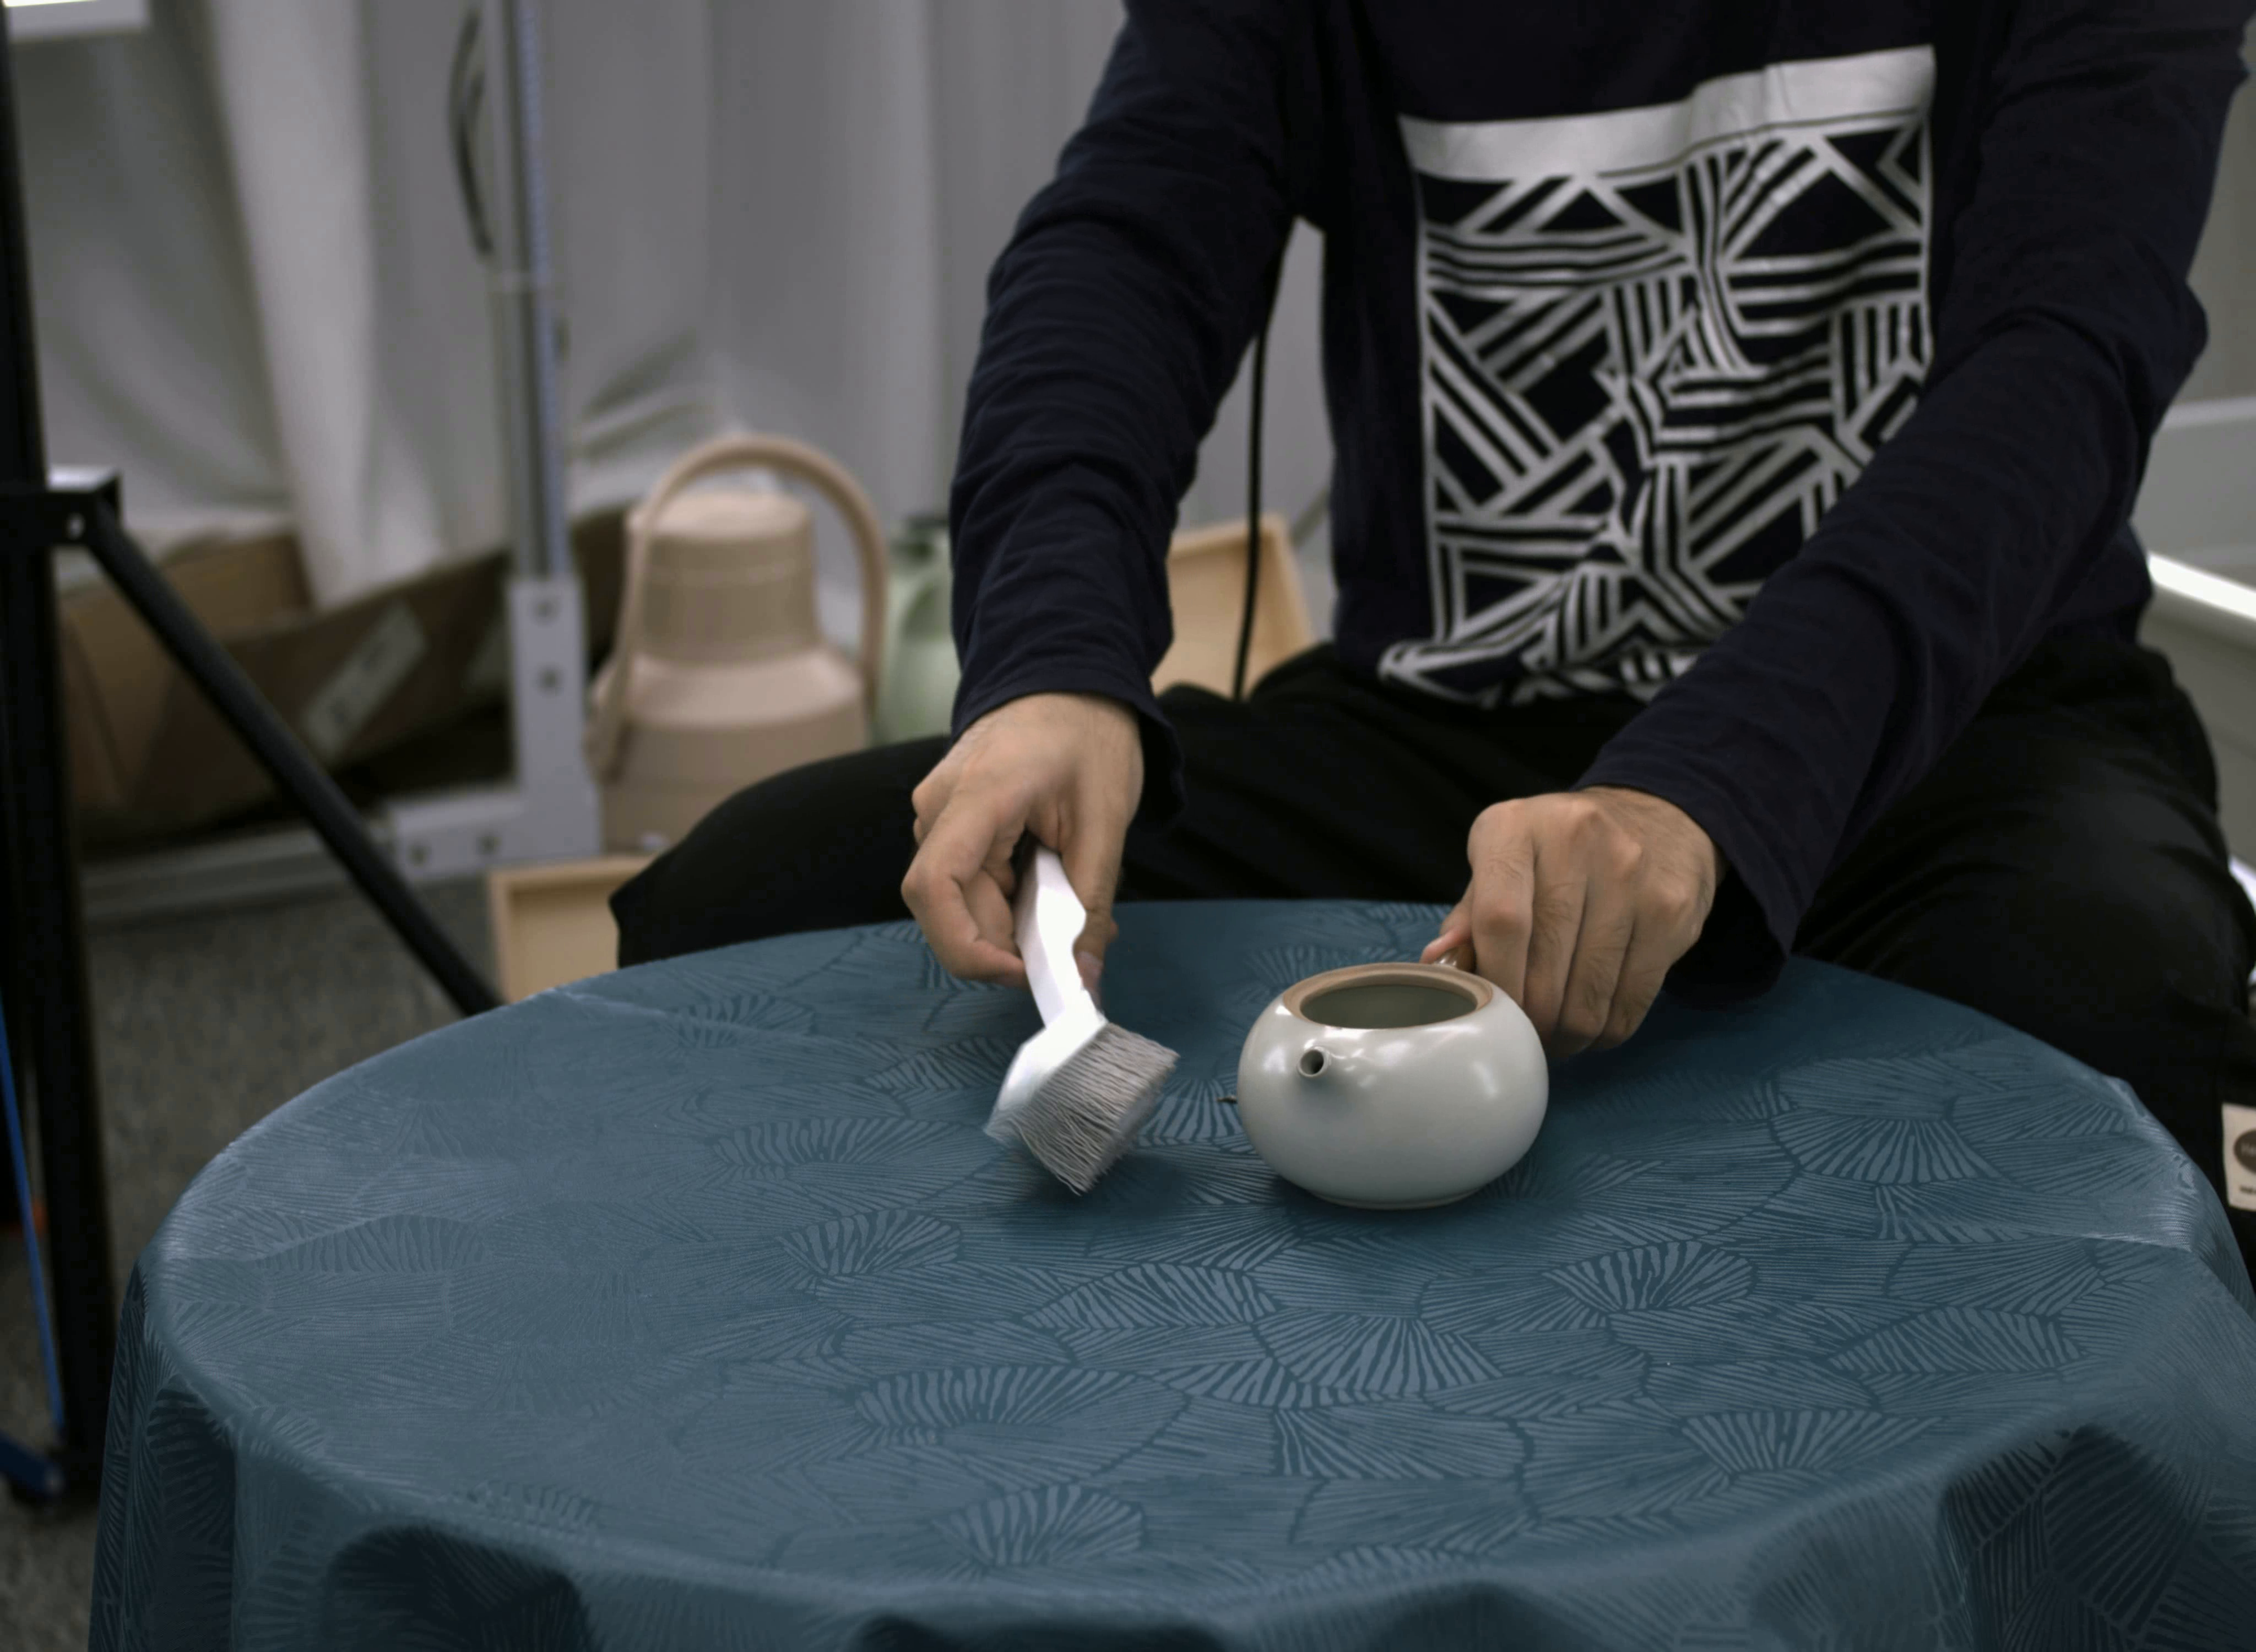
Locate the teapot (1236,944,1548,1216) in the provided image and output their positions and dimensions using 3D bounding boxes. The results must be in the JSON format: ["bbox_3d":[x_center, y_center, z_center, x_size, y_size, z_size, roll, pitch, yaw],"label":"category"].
[{"bbox_3d":[0.082,0.075,1.561,0.093,0.059,0.126,2,18,27],"label":"teapot"}]

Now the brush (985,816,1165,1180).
[{"bbox_3d":[-0.017,0.050,1.650,0.050,0.034,0.245,19,17,-8],"label":"brush"}]
